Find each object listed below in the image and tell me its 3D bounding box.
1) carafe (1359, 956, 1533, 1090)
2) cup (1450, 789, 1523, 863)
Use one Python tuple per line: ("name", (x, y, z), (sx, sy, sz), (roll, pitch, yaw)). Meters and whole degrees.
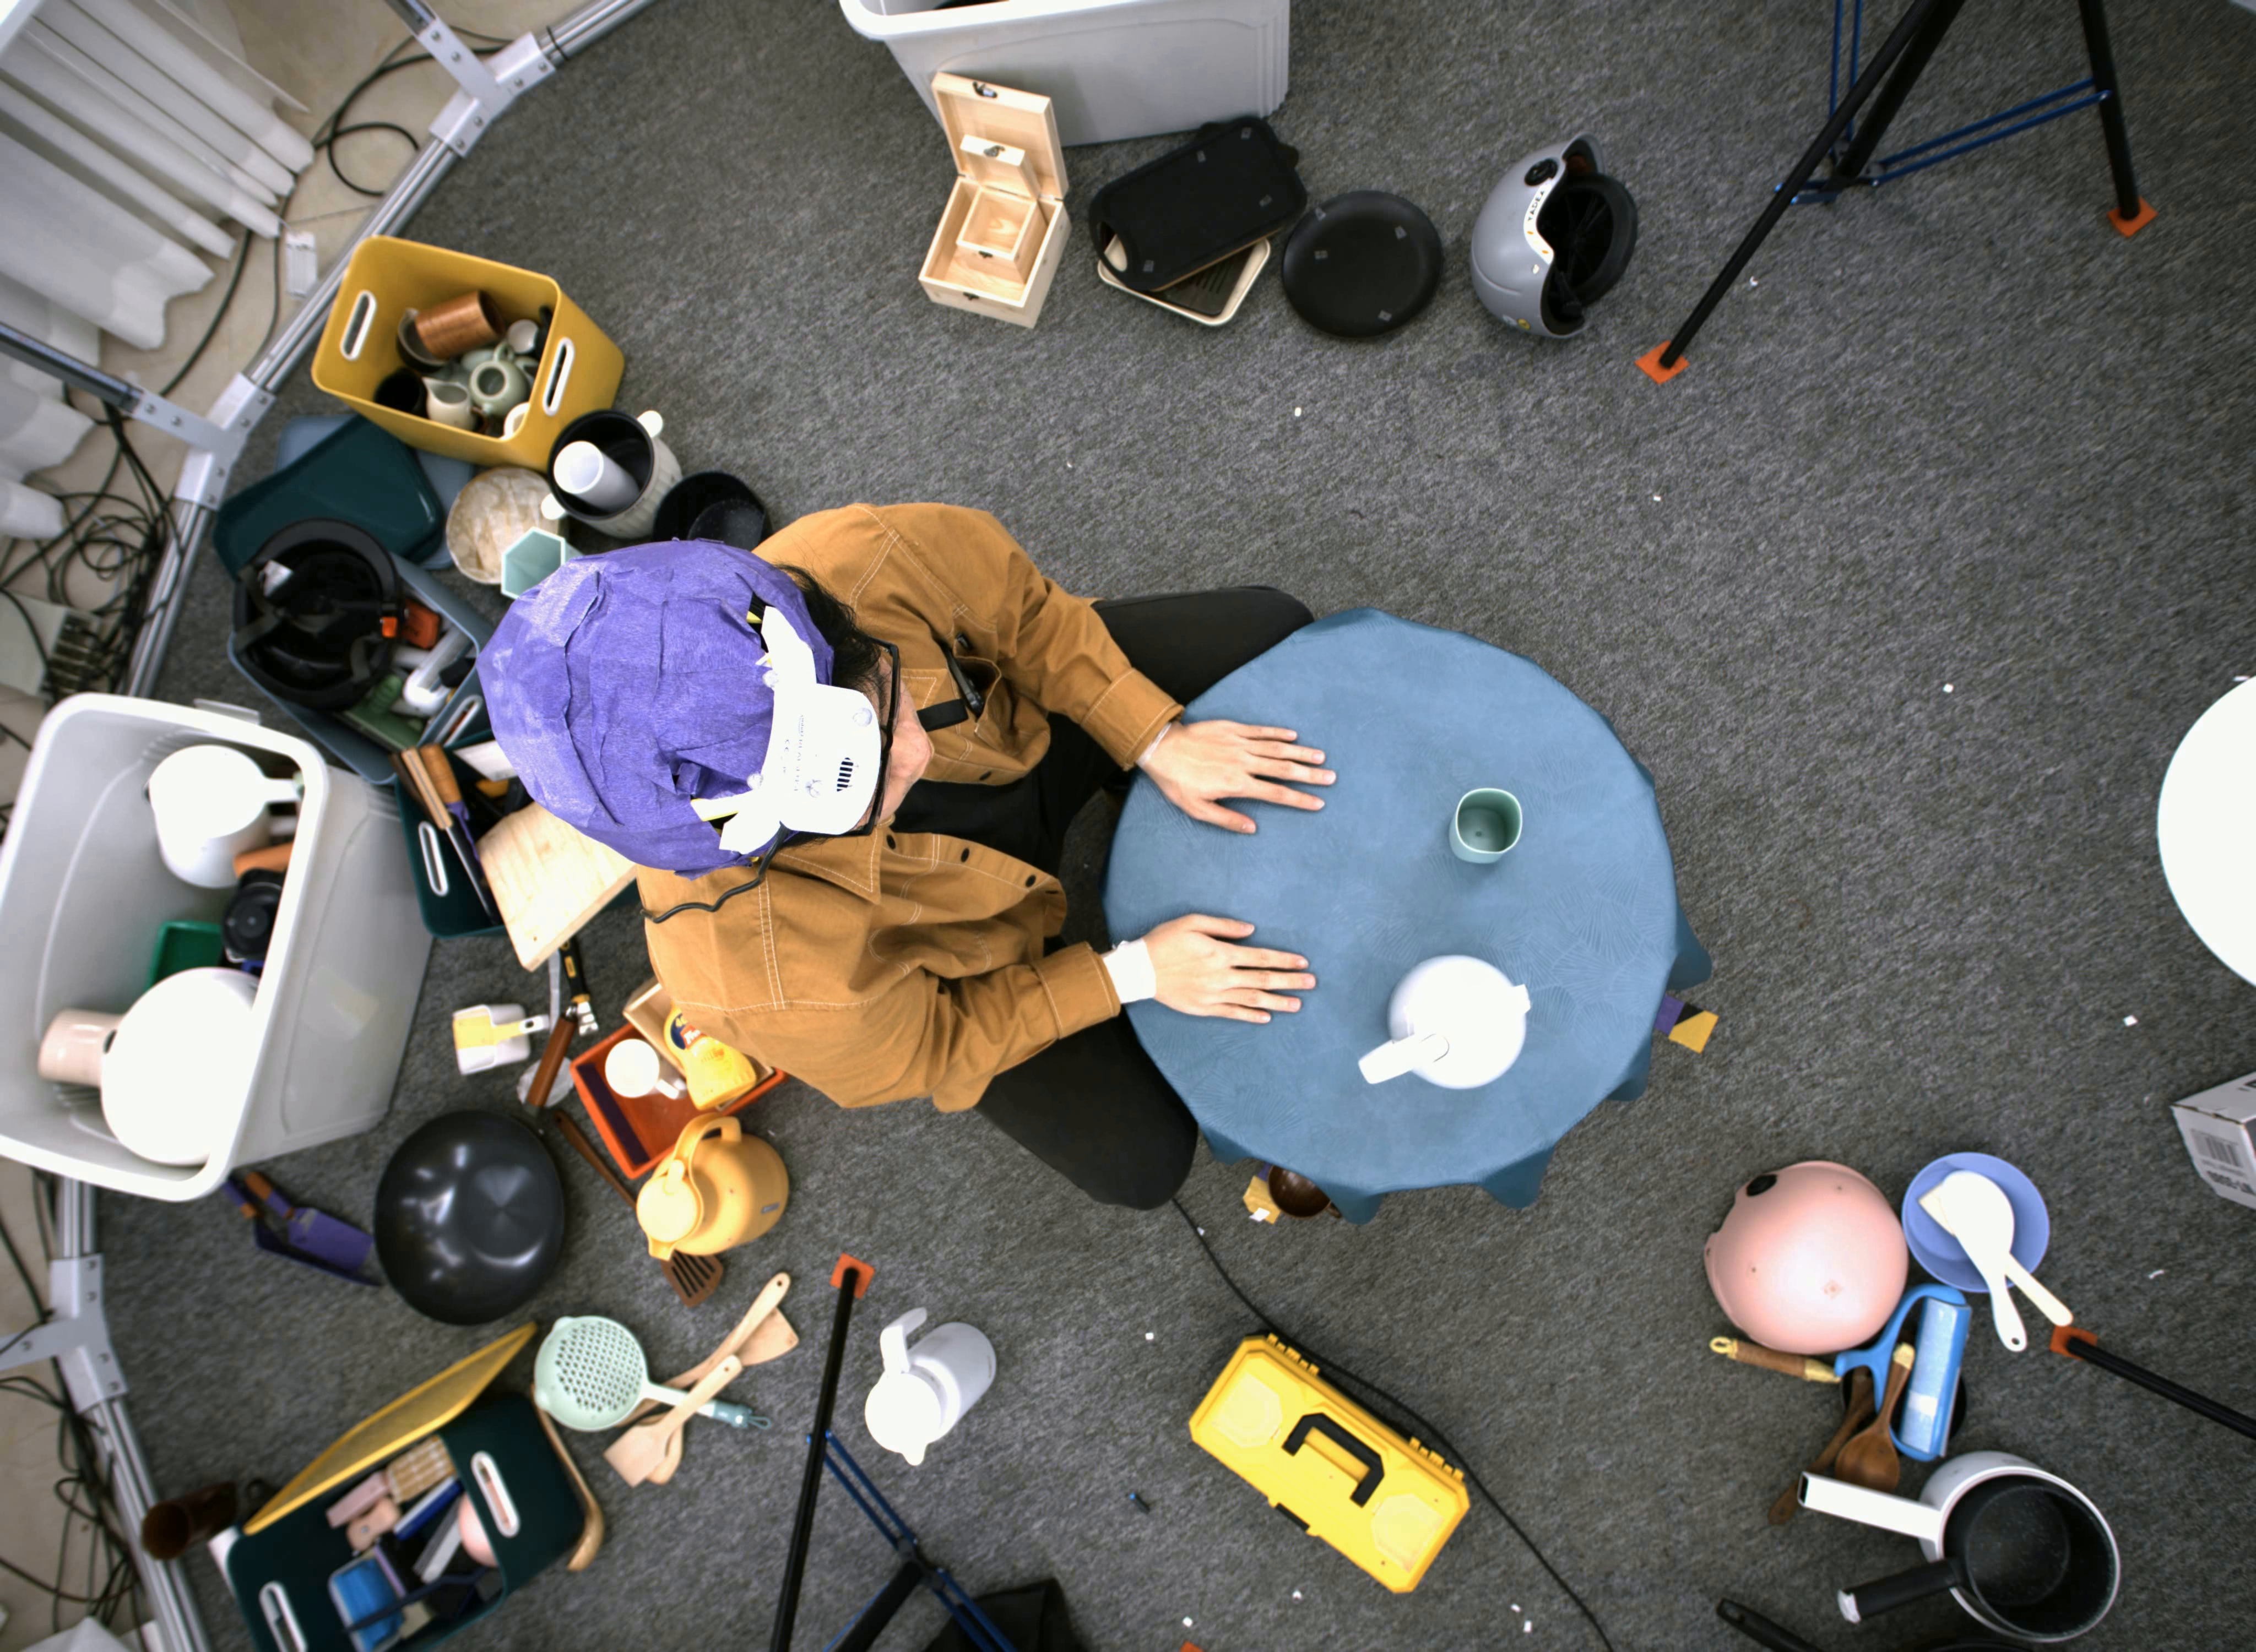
("carafe", (0.301, 0.197, 1.324), (0.169, 0.248, 0.131), (-29, 81, 7))
("cup", (0.358, 0.000, 1.385), (0.067, 0.132, 0.066), (-1, 85, 10))
